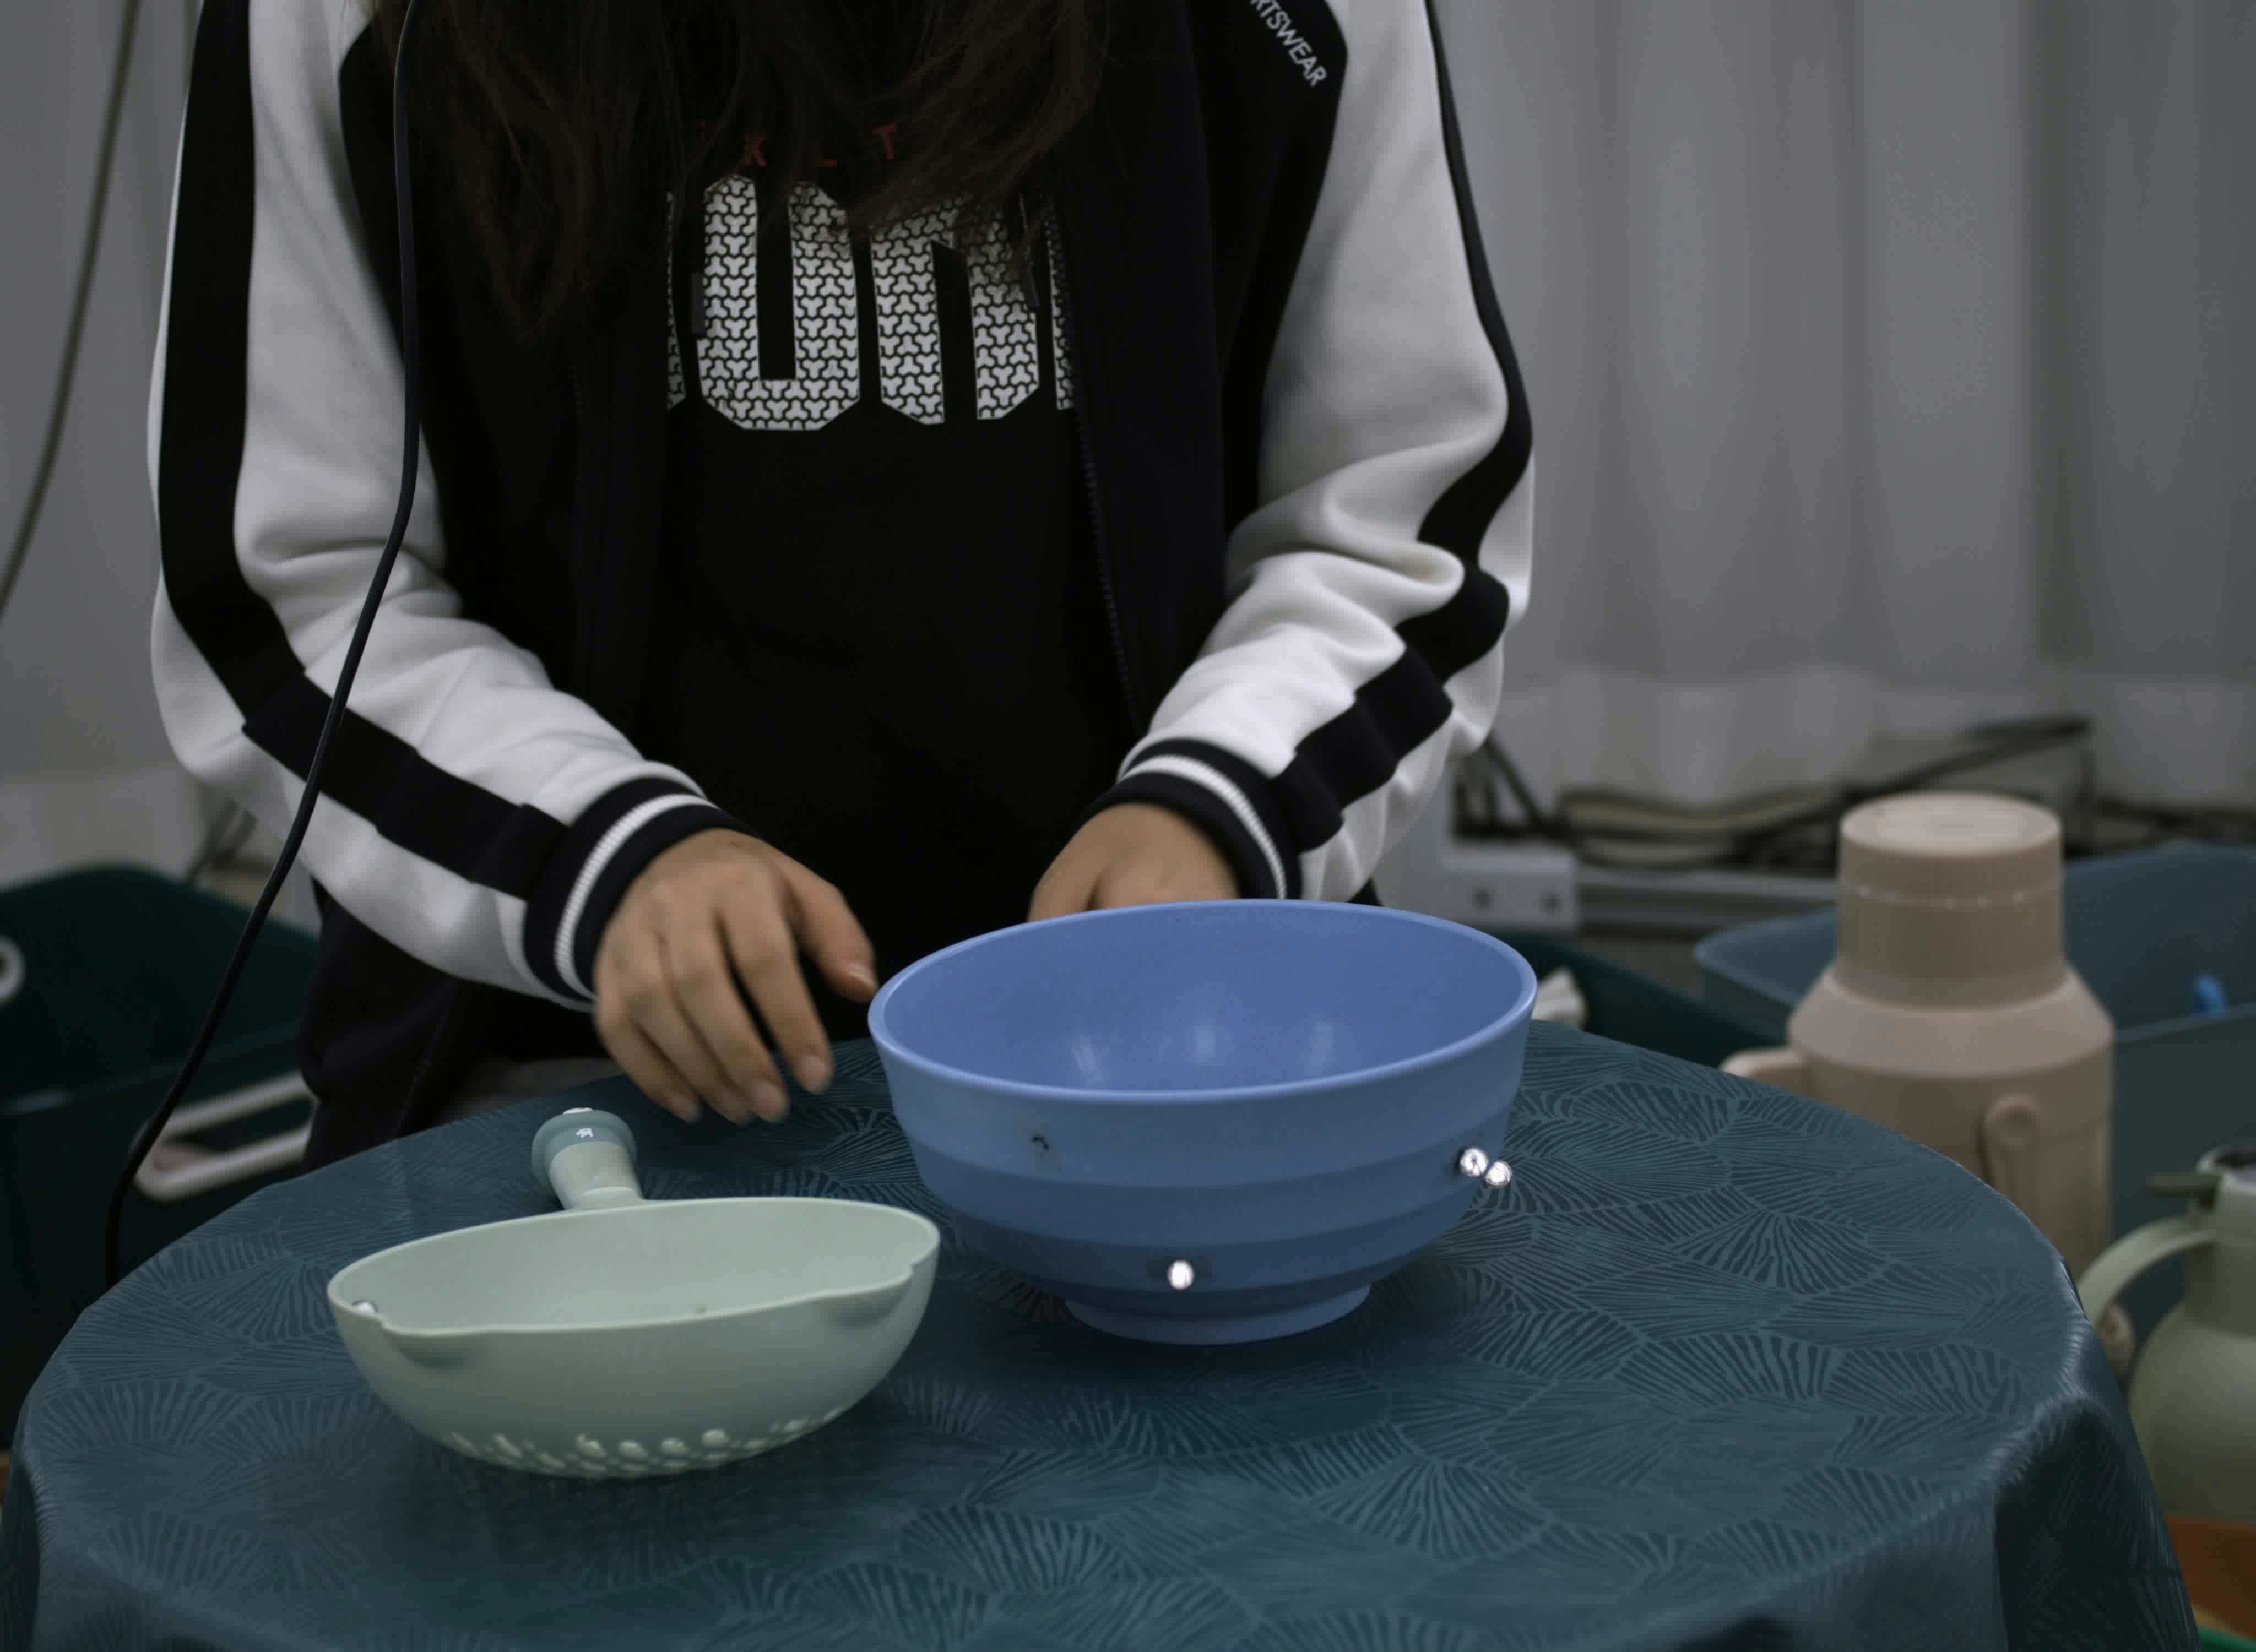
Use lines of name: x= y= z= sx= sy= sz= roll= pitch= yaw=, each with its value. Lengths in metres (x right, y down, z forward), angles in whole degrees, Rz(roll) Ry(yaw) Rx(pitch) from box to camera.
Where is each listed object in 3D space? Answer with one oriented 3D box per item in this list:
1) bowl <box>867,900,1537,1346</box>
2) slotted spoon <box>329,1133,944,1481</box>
bowl: x=0.024 y=0.093 z=1.608 sx=0.196 sy=0.095 sz=0.198 roll=-3 pitch=15 yaw=1
slotted spoon: x=-0.149 y=0.124 z=1.598 sx=0.168 sy=0.075 sz=0.361 roll=-4 pitch=13 yaw=-9
